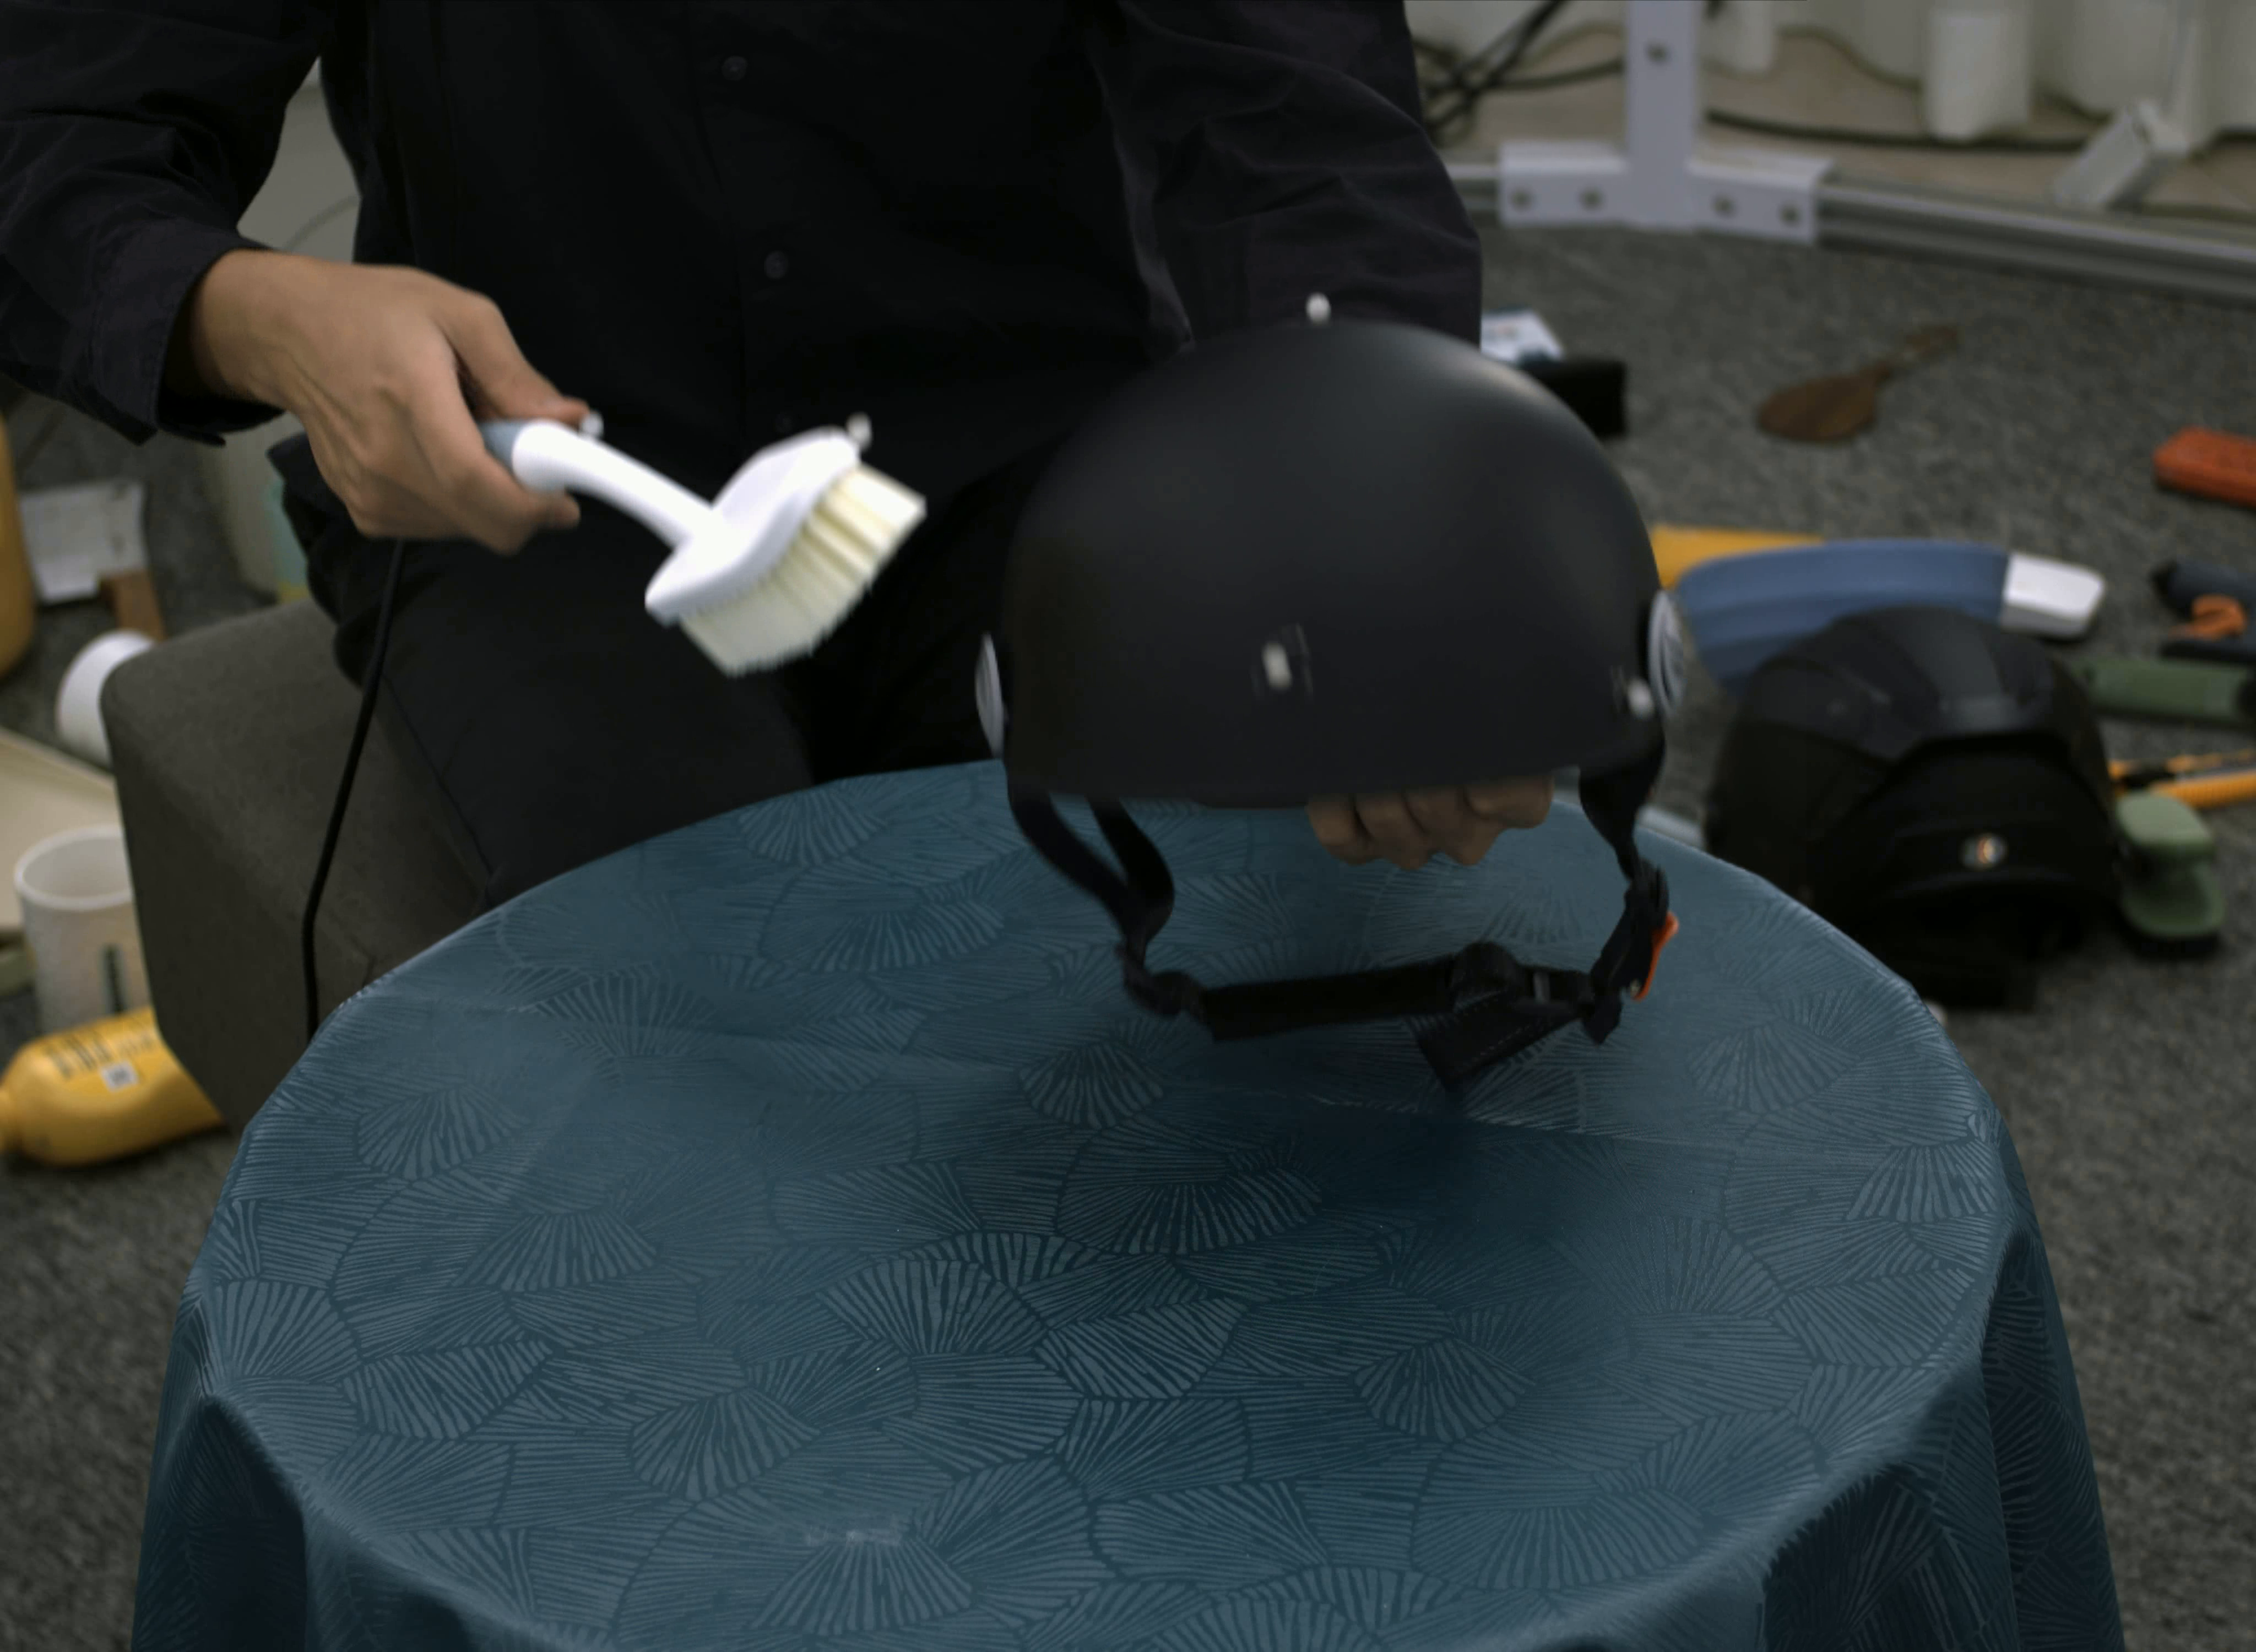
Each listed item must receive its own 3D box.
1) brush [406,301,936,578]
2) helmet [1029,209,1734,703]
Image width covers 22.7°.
[{"bbox_3d":[-0.151,-0.132,1.921,0.083,0.084,0.324,-5,9,-30],"label":"brush"},{"bbox_3d":[0.083,-0.120,1.862,0.228,0.167,0.274,-5,3,7],"label":"helmet"}]
